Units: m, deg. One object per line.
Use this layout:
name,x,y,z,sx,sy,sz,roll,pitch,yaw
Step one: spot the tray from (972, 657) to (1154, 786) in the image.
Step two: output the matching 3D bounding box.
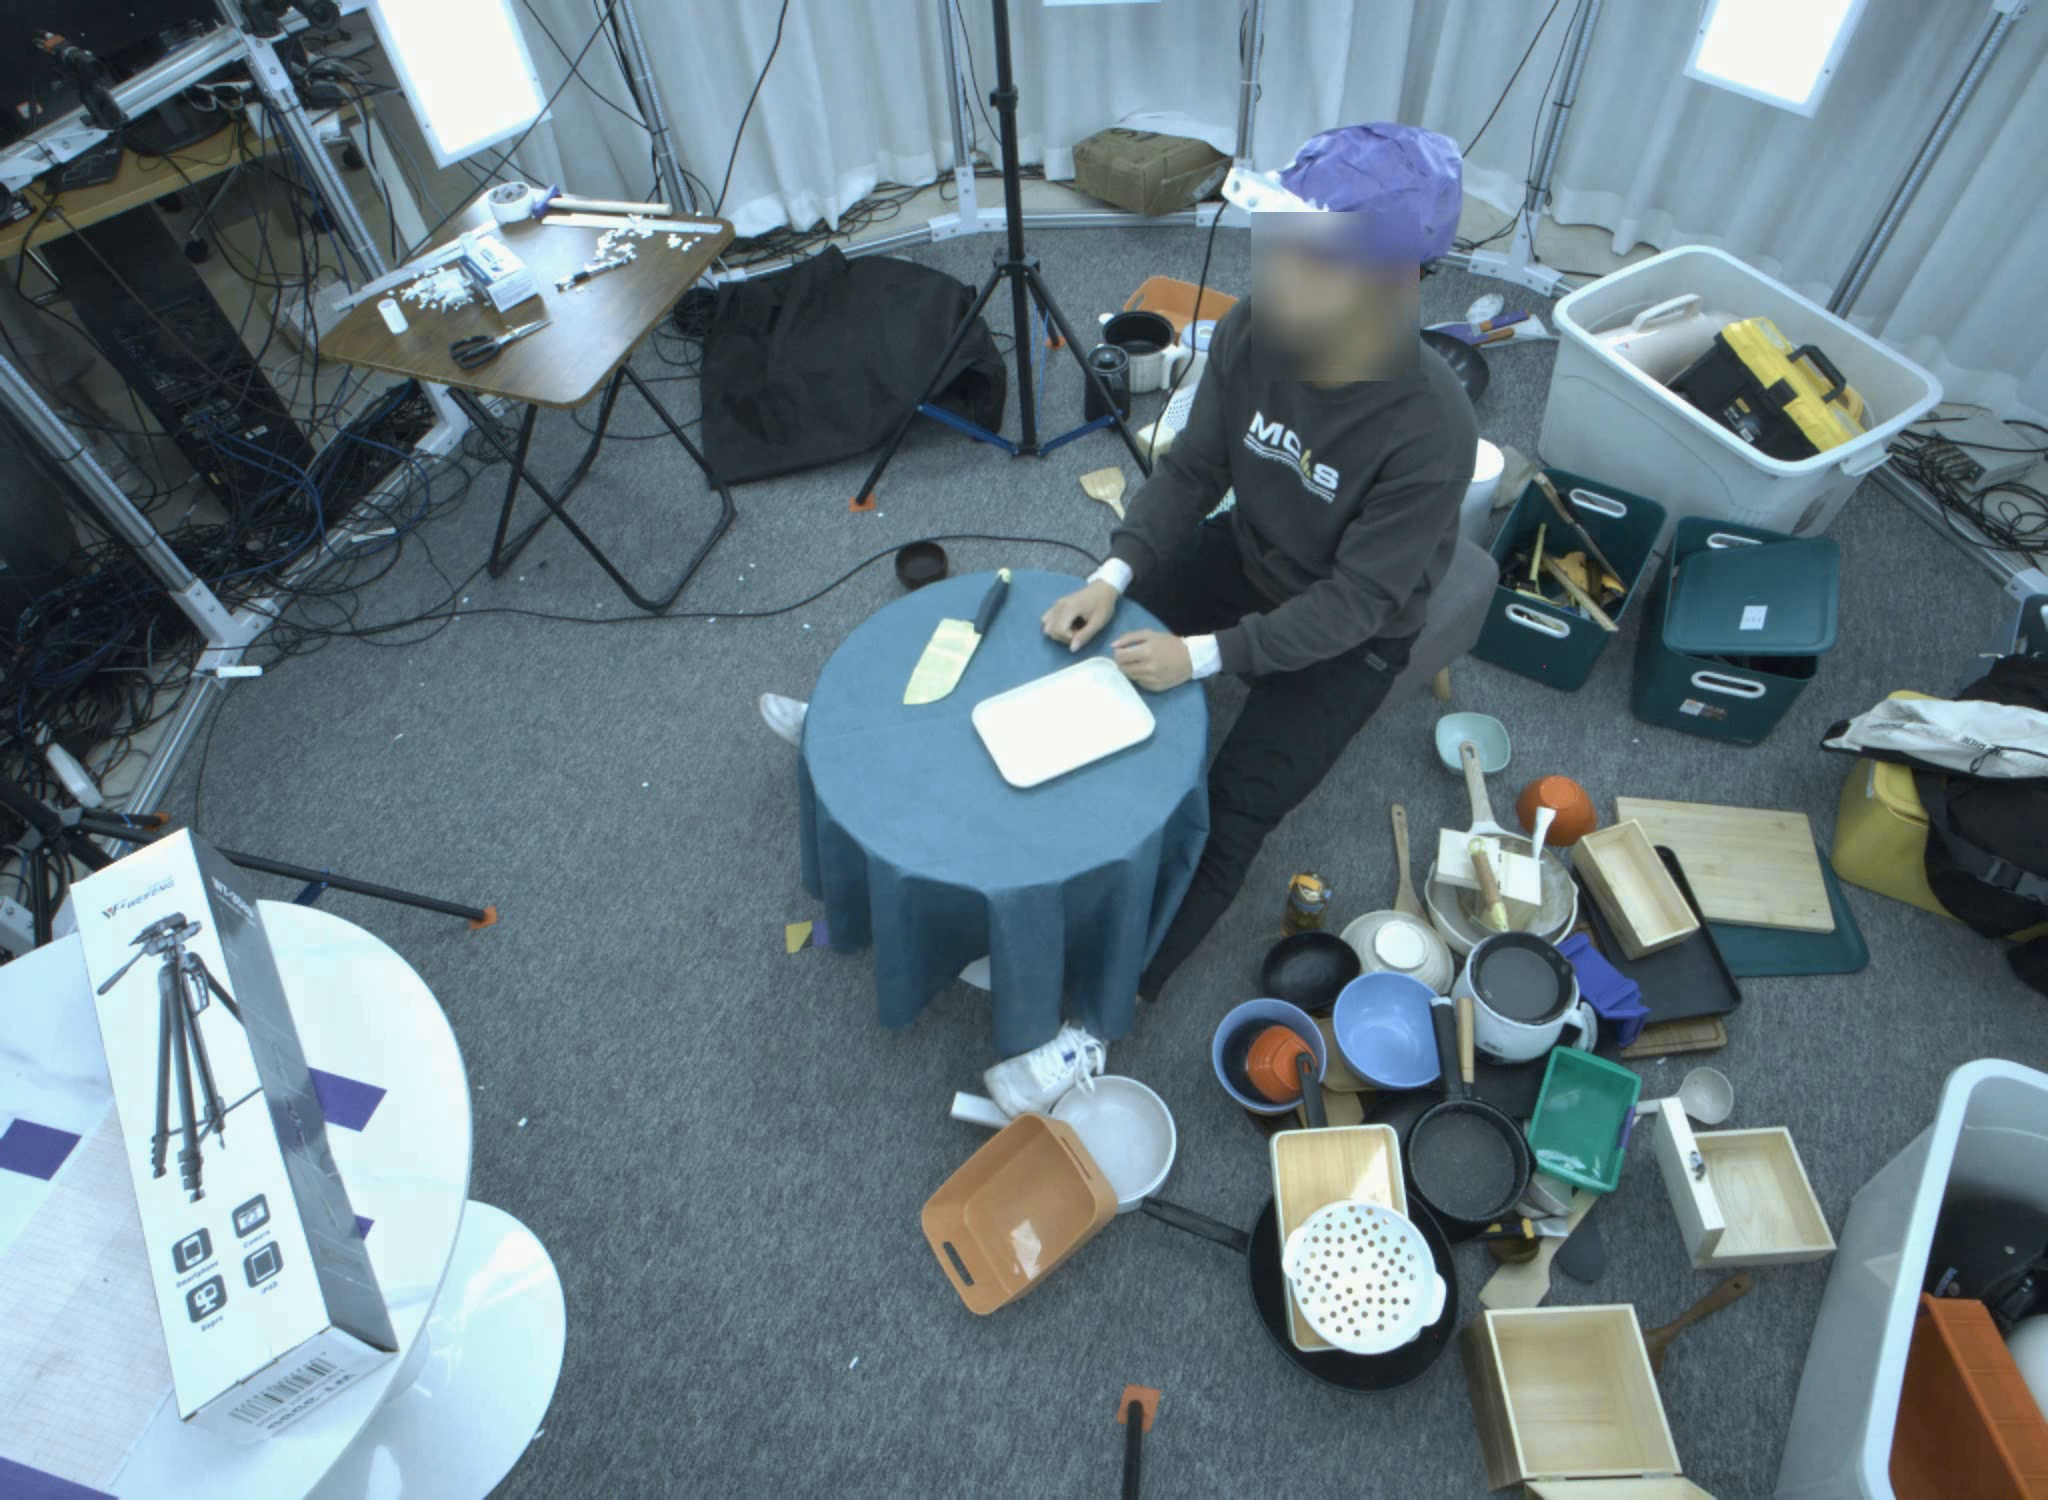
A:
tray,0.056,-0.043,1.813,0.241,0.017,0.168,-22,56,-14

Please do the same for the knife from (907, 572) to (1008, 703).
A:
knife,-0.102,-0.179,1.917,0.080,0.027,0.290,21,58,14
